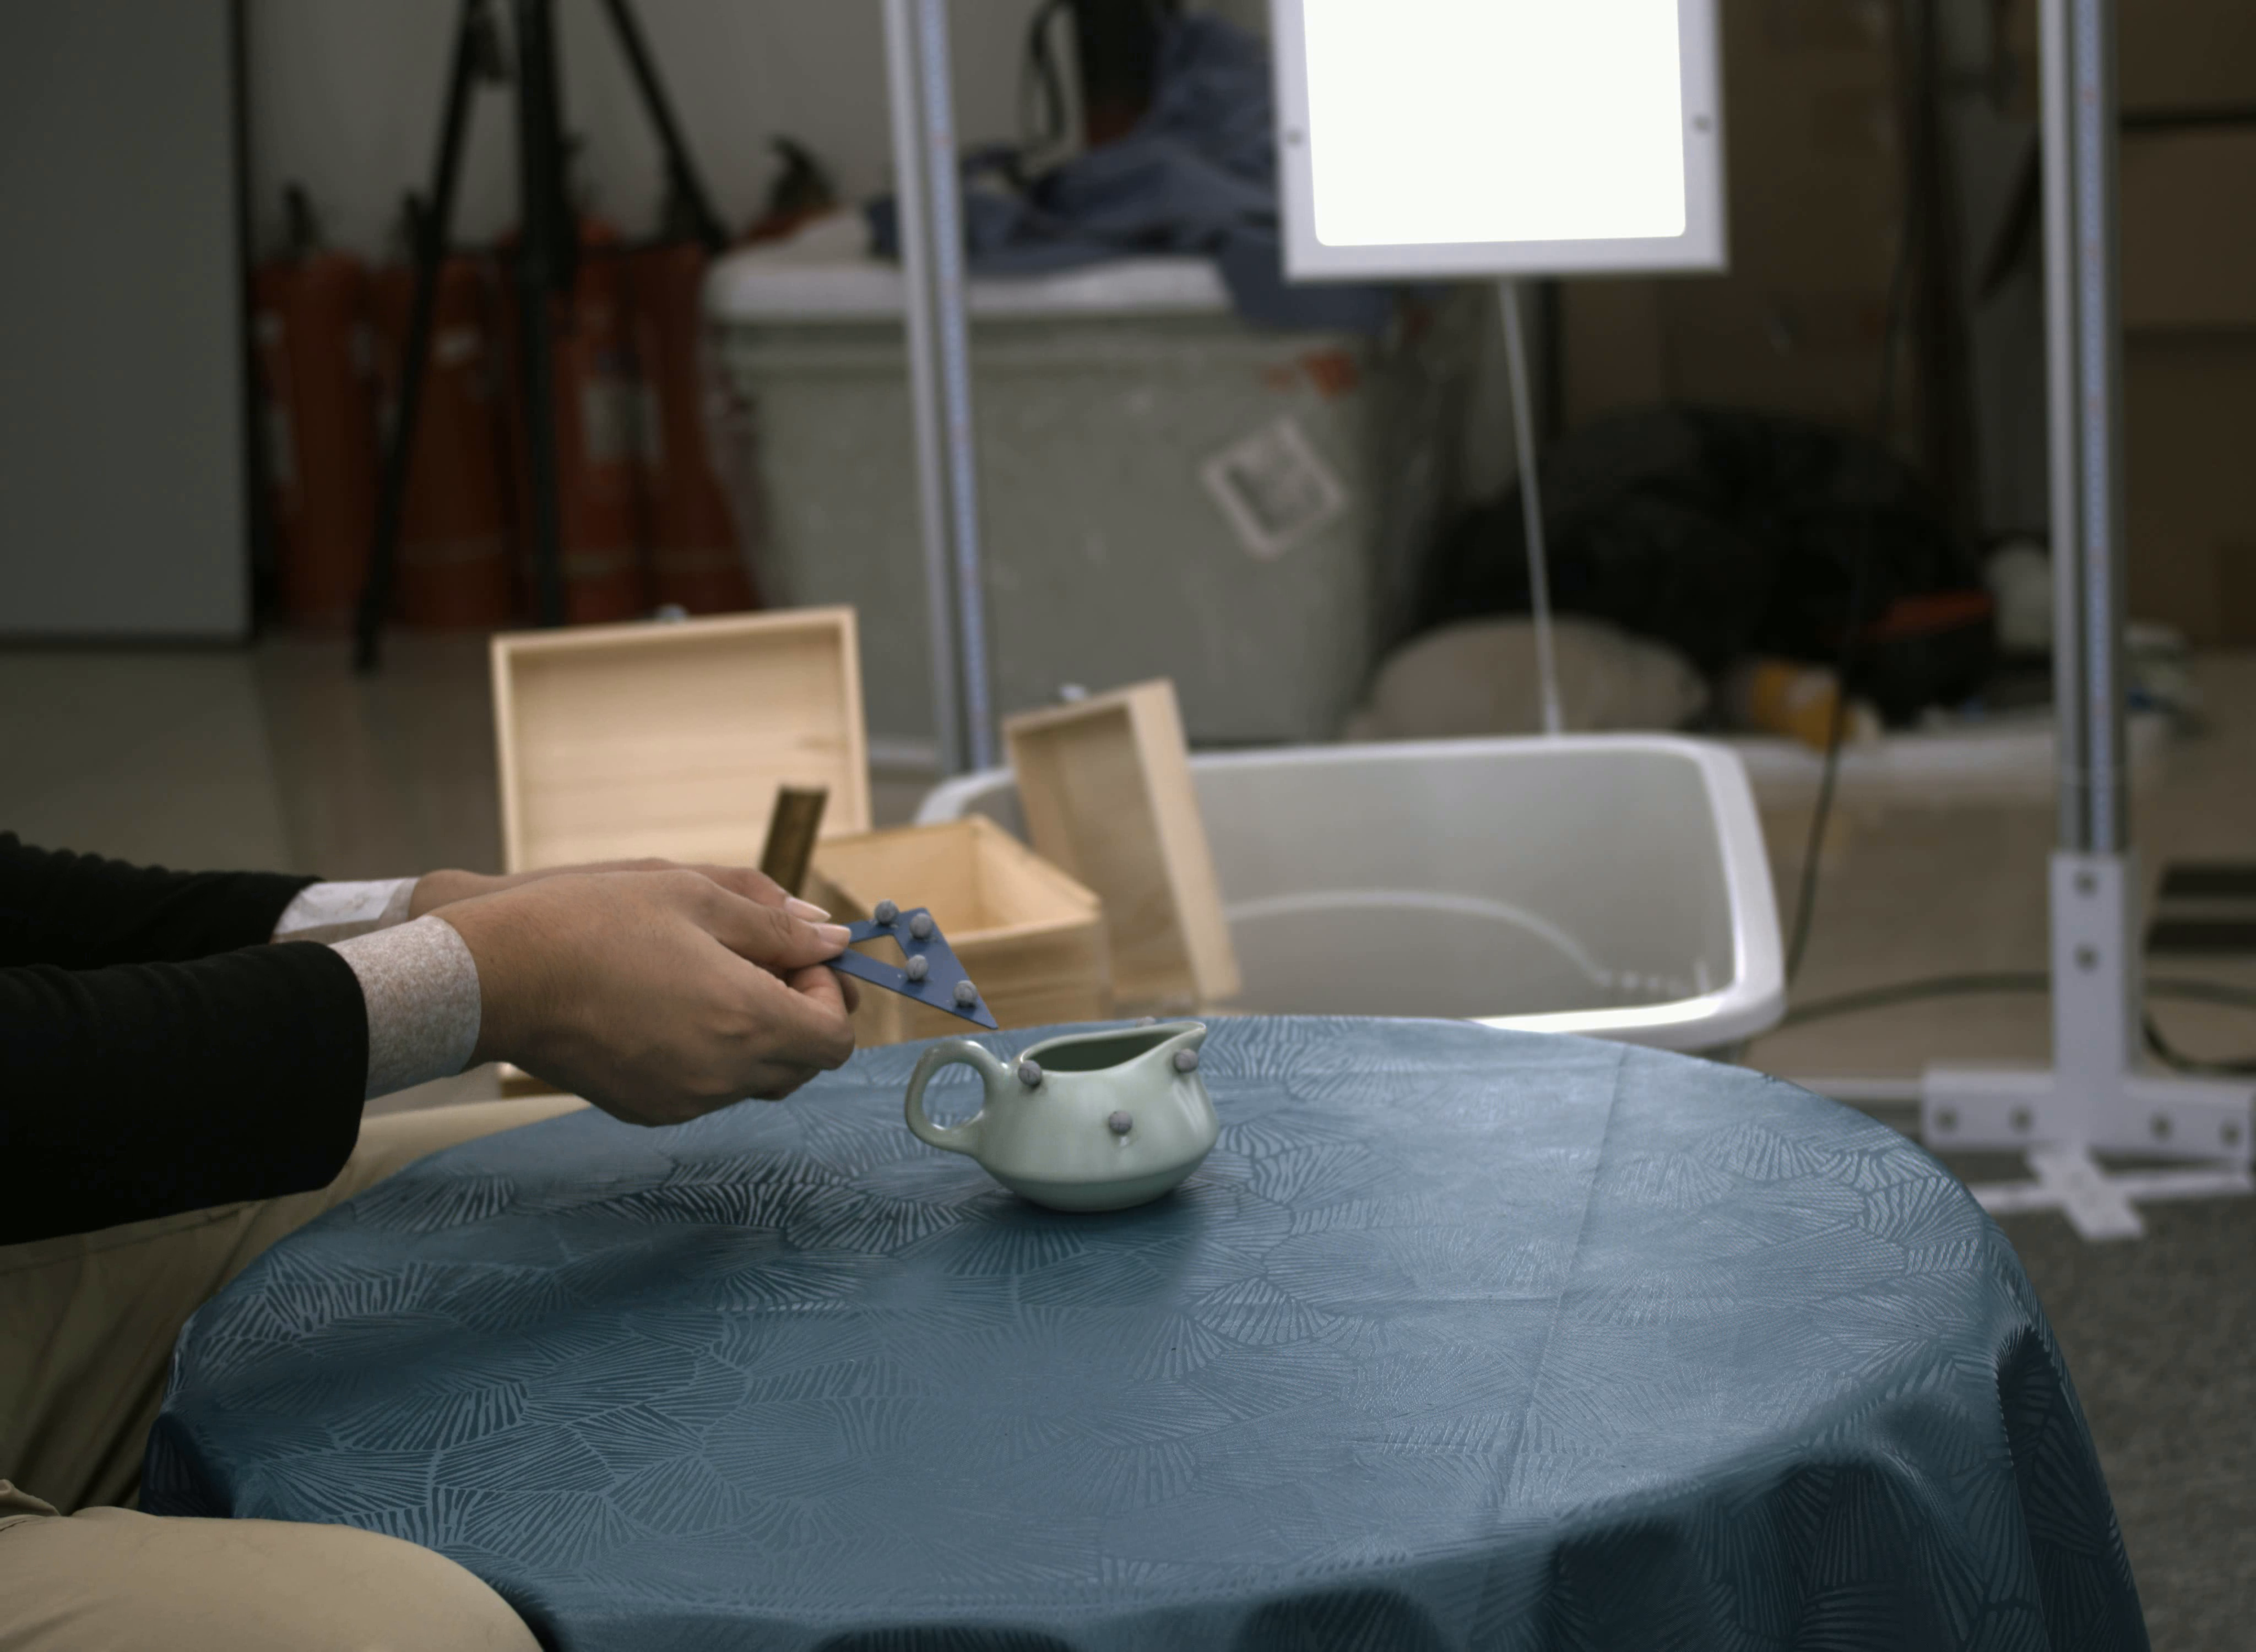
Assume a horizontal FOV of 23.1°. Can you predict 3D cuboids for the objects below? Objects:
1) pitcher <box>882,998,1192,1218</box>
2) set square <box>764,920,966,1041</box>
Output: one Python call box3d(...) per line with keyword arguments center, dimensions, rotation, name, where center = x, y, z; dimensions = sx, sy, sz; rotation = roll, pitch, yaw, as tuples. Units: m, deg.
box3d(center=(-0.034, 0.095, 1.896), dimensions=(0.108, 0.061, 0.085), rotation=(14, 26, 6), name="pitcher")
box3d(center=(-0.091, 0.051, 1.878), dimensions=(0.060, 0.006, 0.132), rotation=(0, 17, -8), name="set square")
